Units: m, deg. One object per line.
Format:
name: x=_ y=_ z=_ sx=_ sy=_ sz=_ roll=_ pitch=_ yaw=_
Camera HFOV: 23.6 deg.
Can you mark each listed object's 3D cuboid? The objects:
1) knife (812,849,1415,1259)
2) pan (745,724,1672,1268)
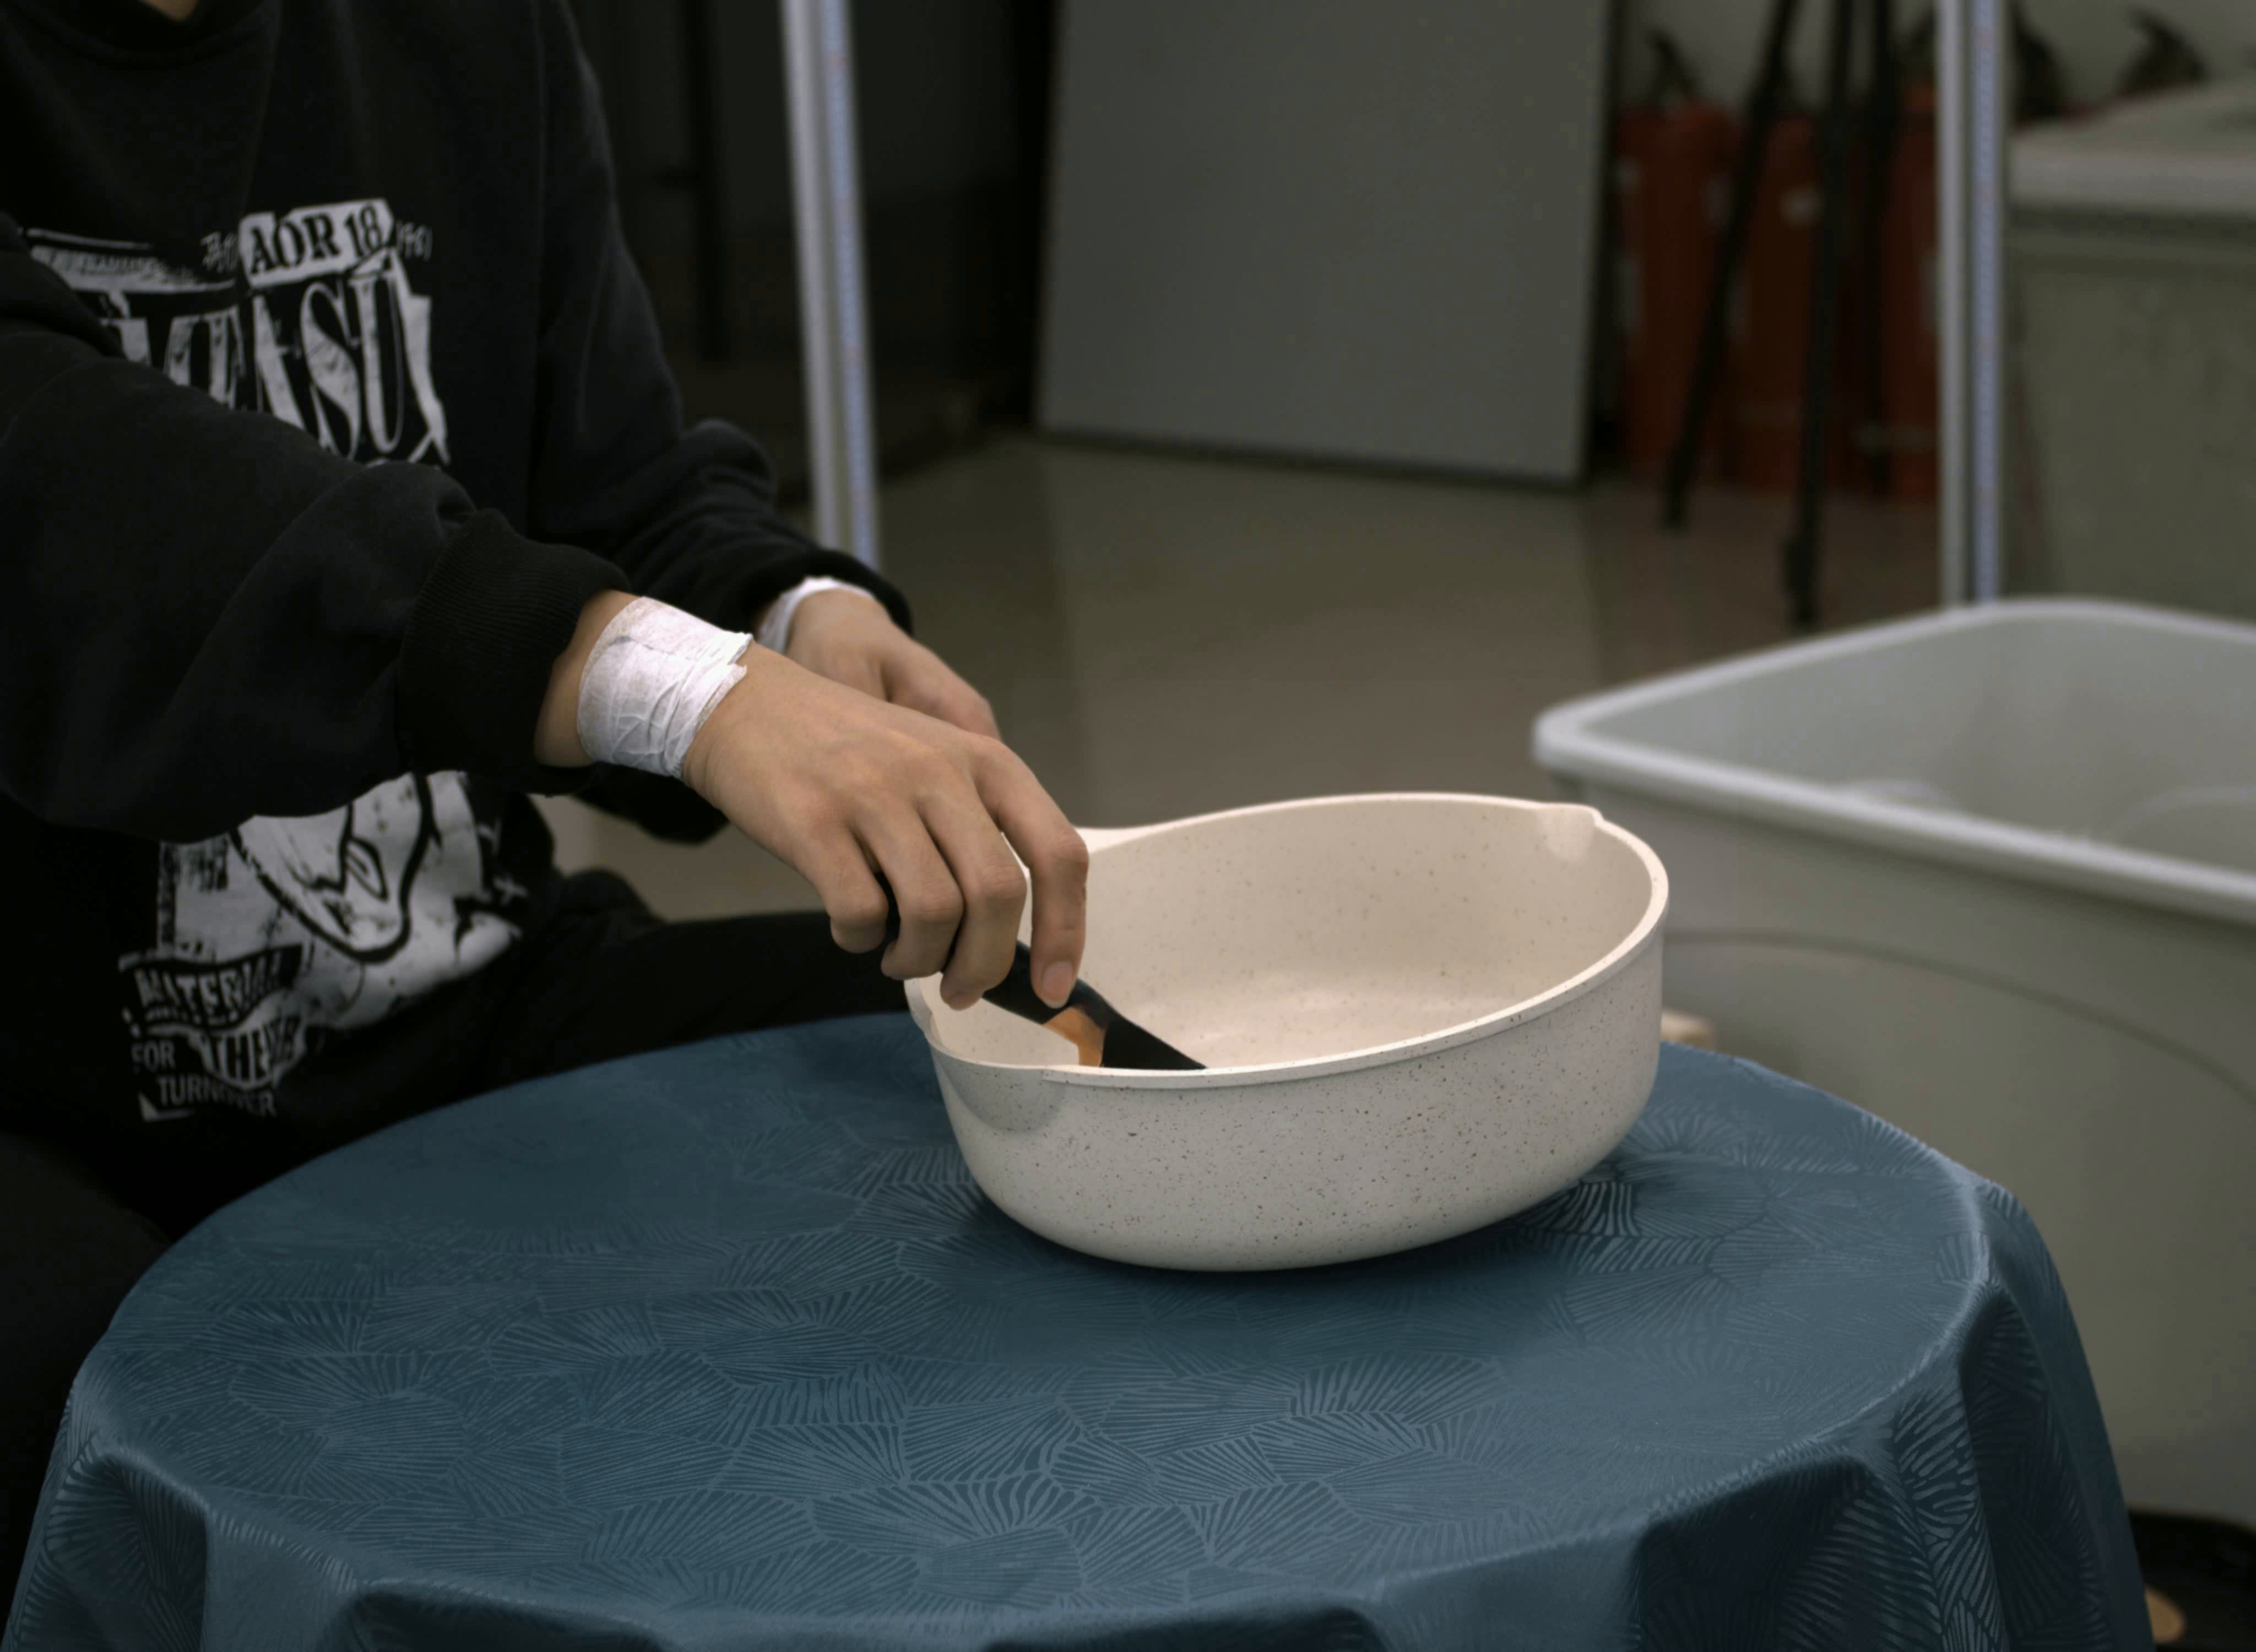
knife: x=-0.003 y=0.071 z=1.683 sx=0.225 sy=0.026 sz=0.017 roll=31 pitch=14 yaw=6
pan: x=0.005 y=0.045 z=1.829 sx=0.258 sy=0.103 sz=0.439 roll=-23 pitch=22 yaw=-30
